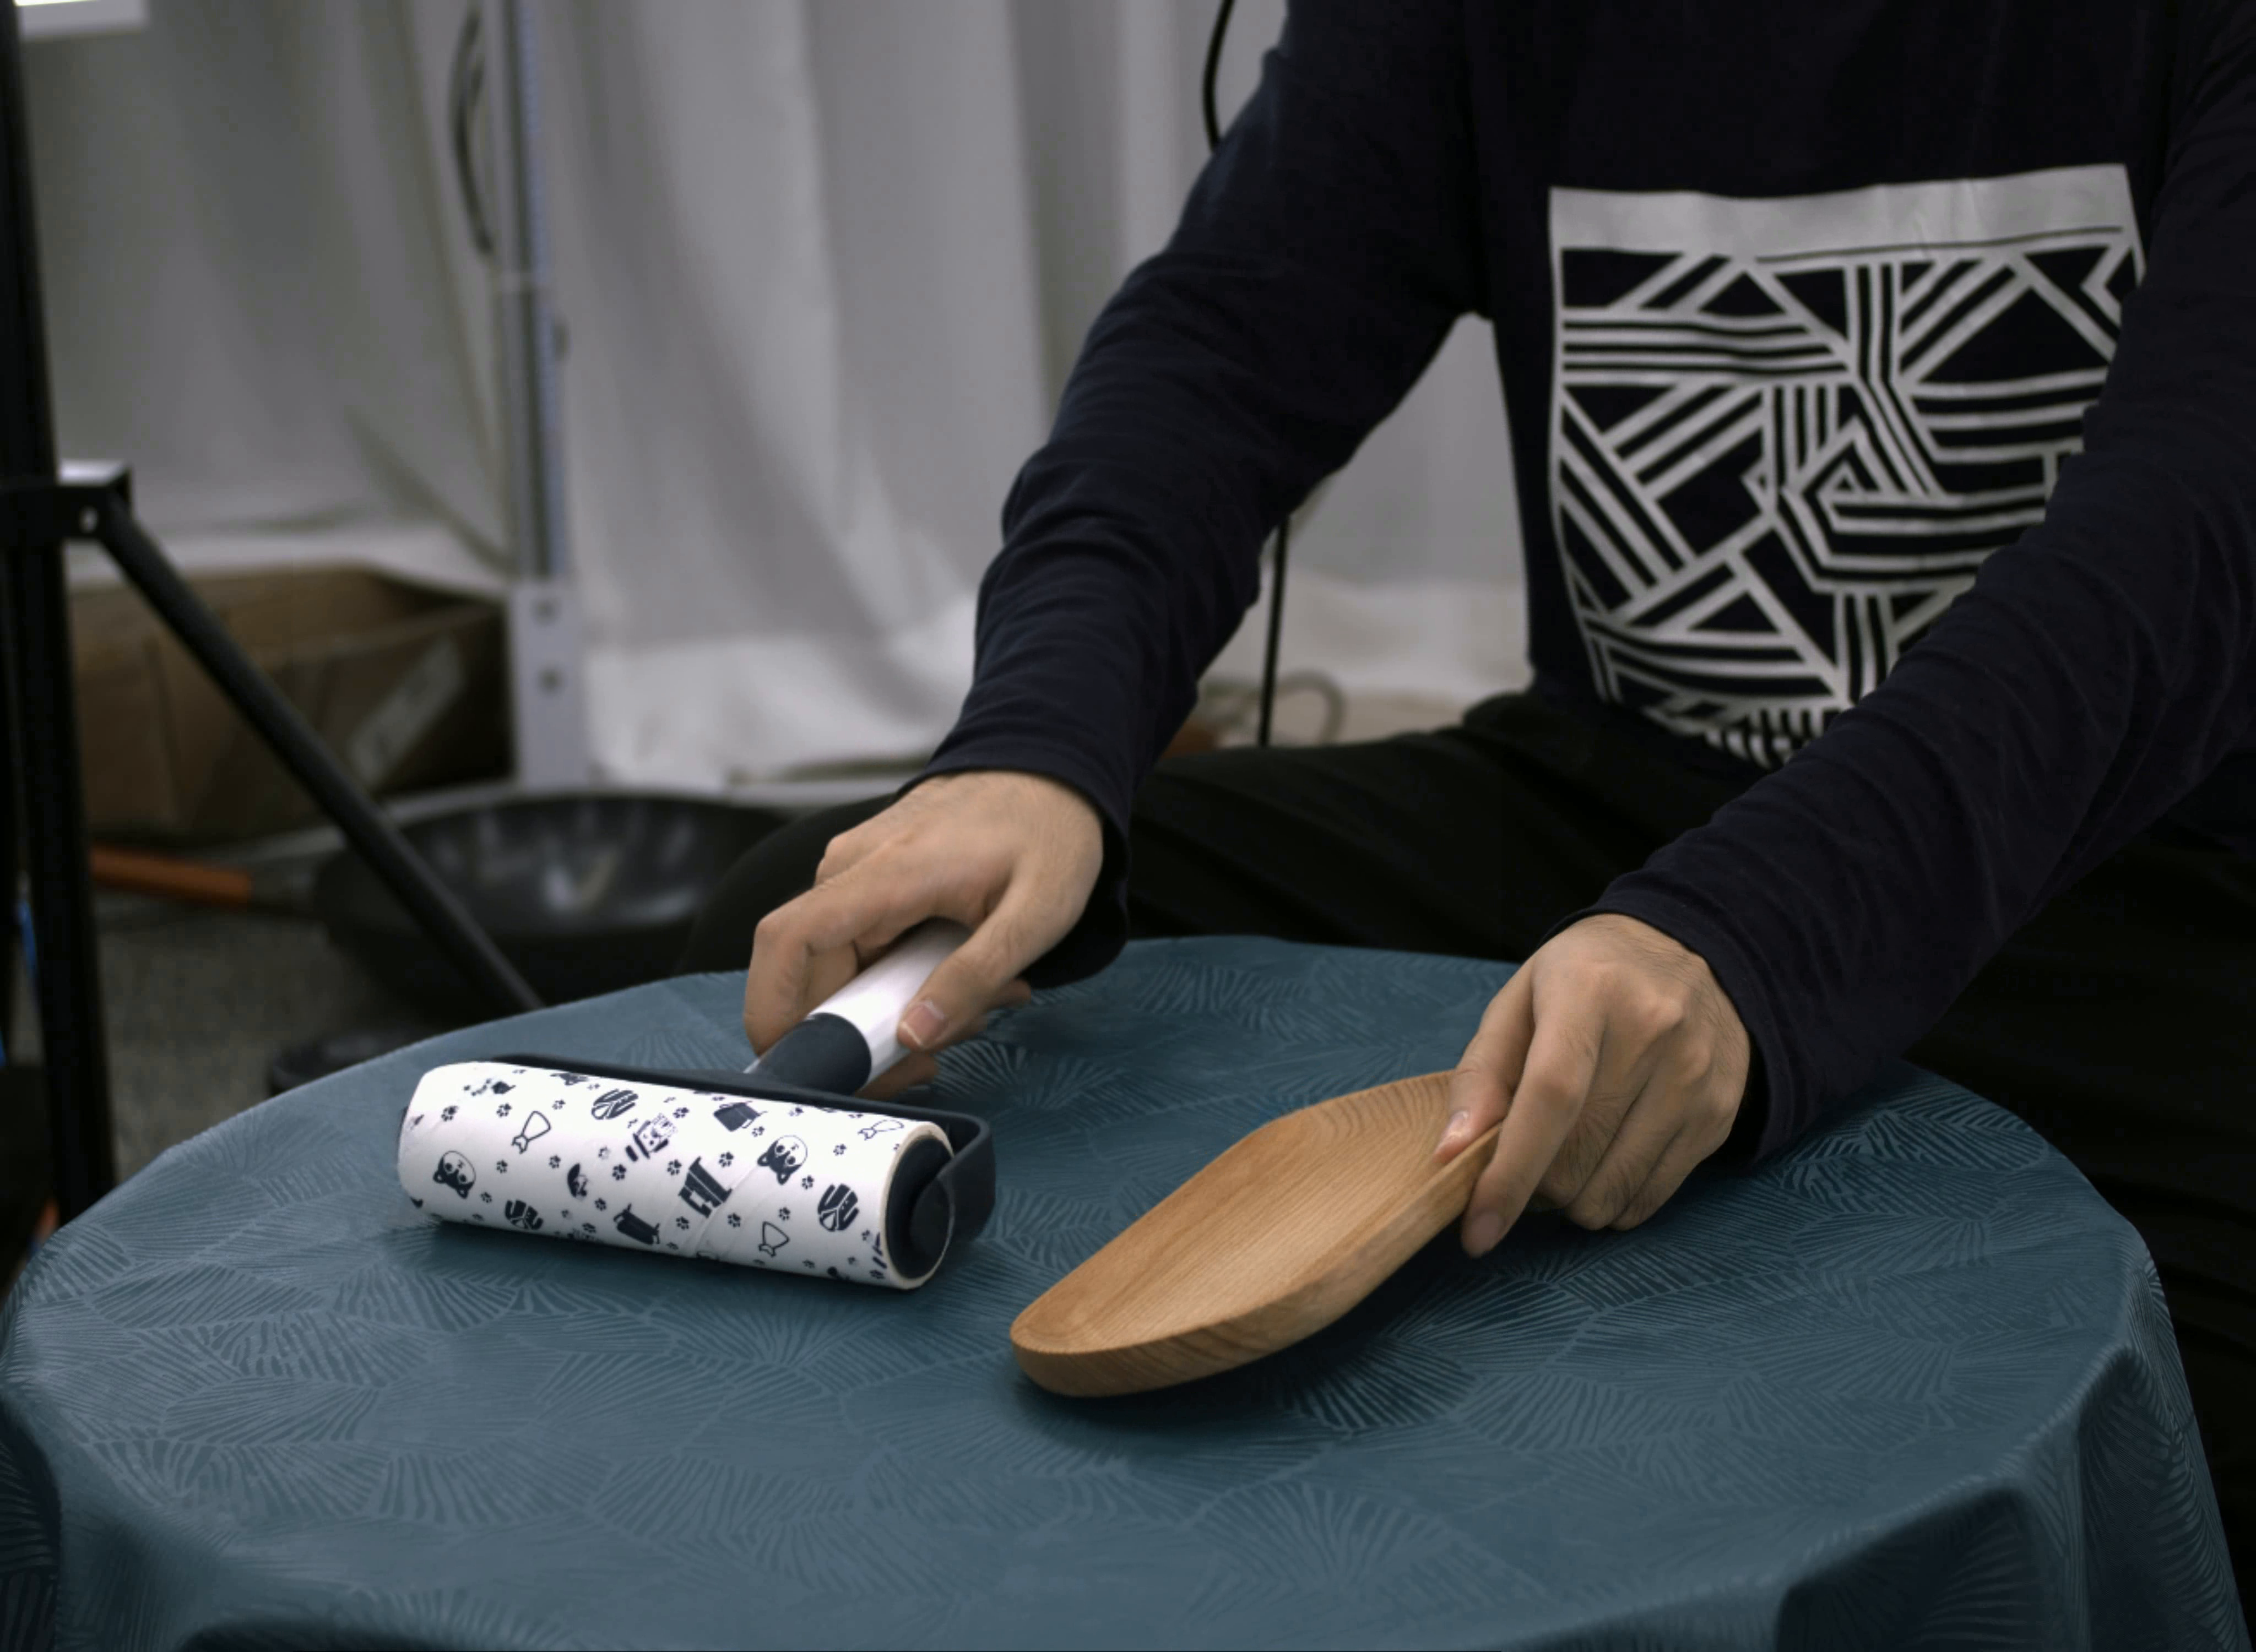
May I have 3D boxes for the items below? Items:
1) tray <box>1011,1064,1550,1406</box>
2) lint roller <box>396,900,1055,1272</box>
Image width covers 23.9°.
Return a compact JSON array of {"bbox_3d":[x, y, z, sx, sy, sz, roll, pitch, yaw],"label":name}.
[{"bbox_3d":[0.046,0.111,1.468,0.103,0.020,0.228,-14,11,29],"label":"tray"},{"bbox_3d":[-0.086,0.064,1.610,0.179,0.050,0.243,5,22,26],"label":"lint roller"}]
